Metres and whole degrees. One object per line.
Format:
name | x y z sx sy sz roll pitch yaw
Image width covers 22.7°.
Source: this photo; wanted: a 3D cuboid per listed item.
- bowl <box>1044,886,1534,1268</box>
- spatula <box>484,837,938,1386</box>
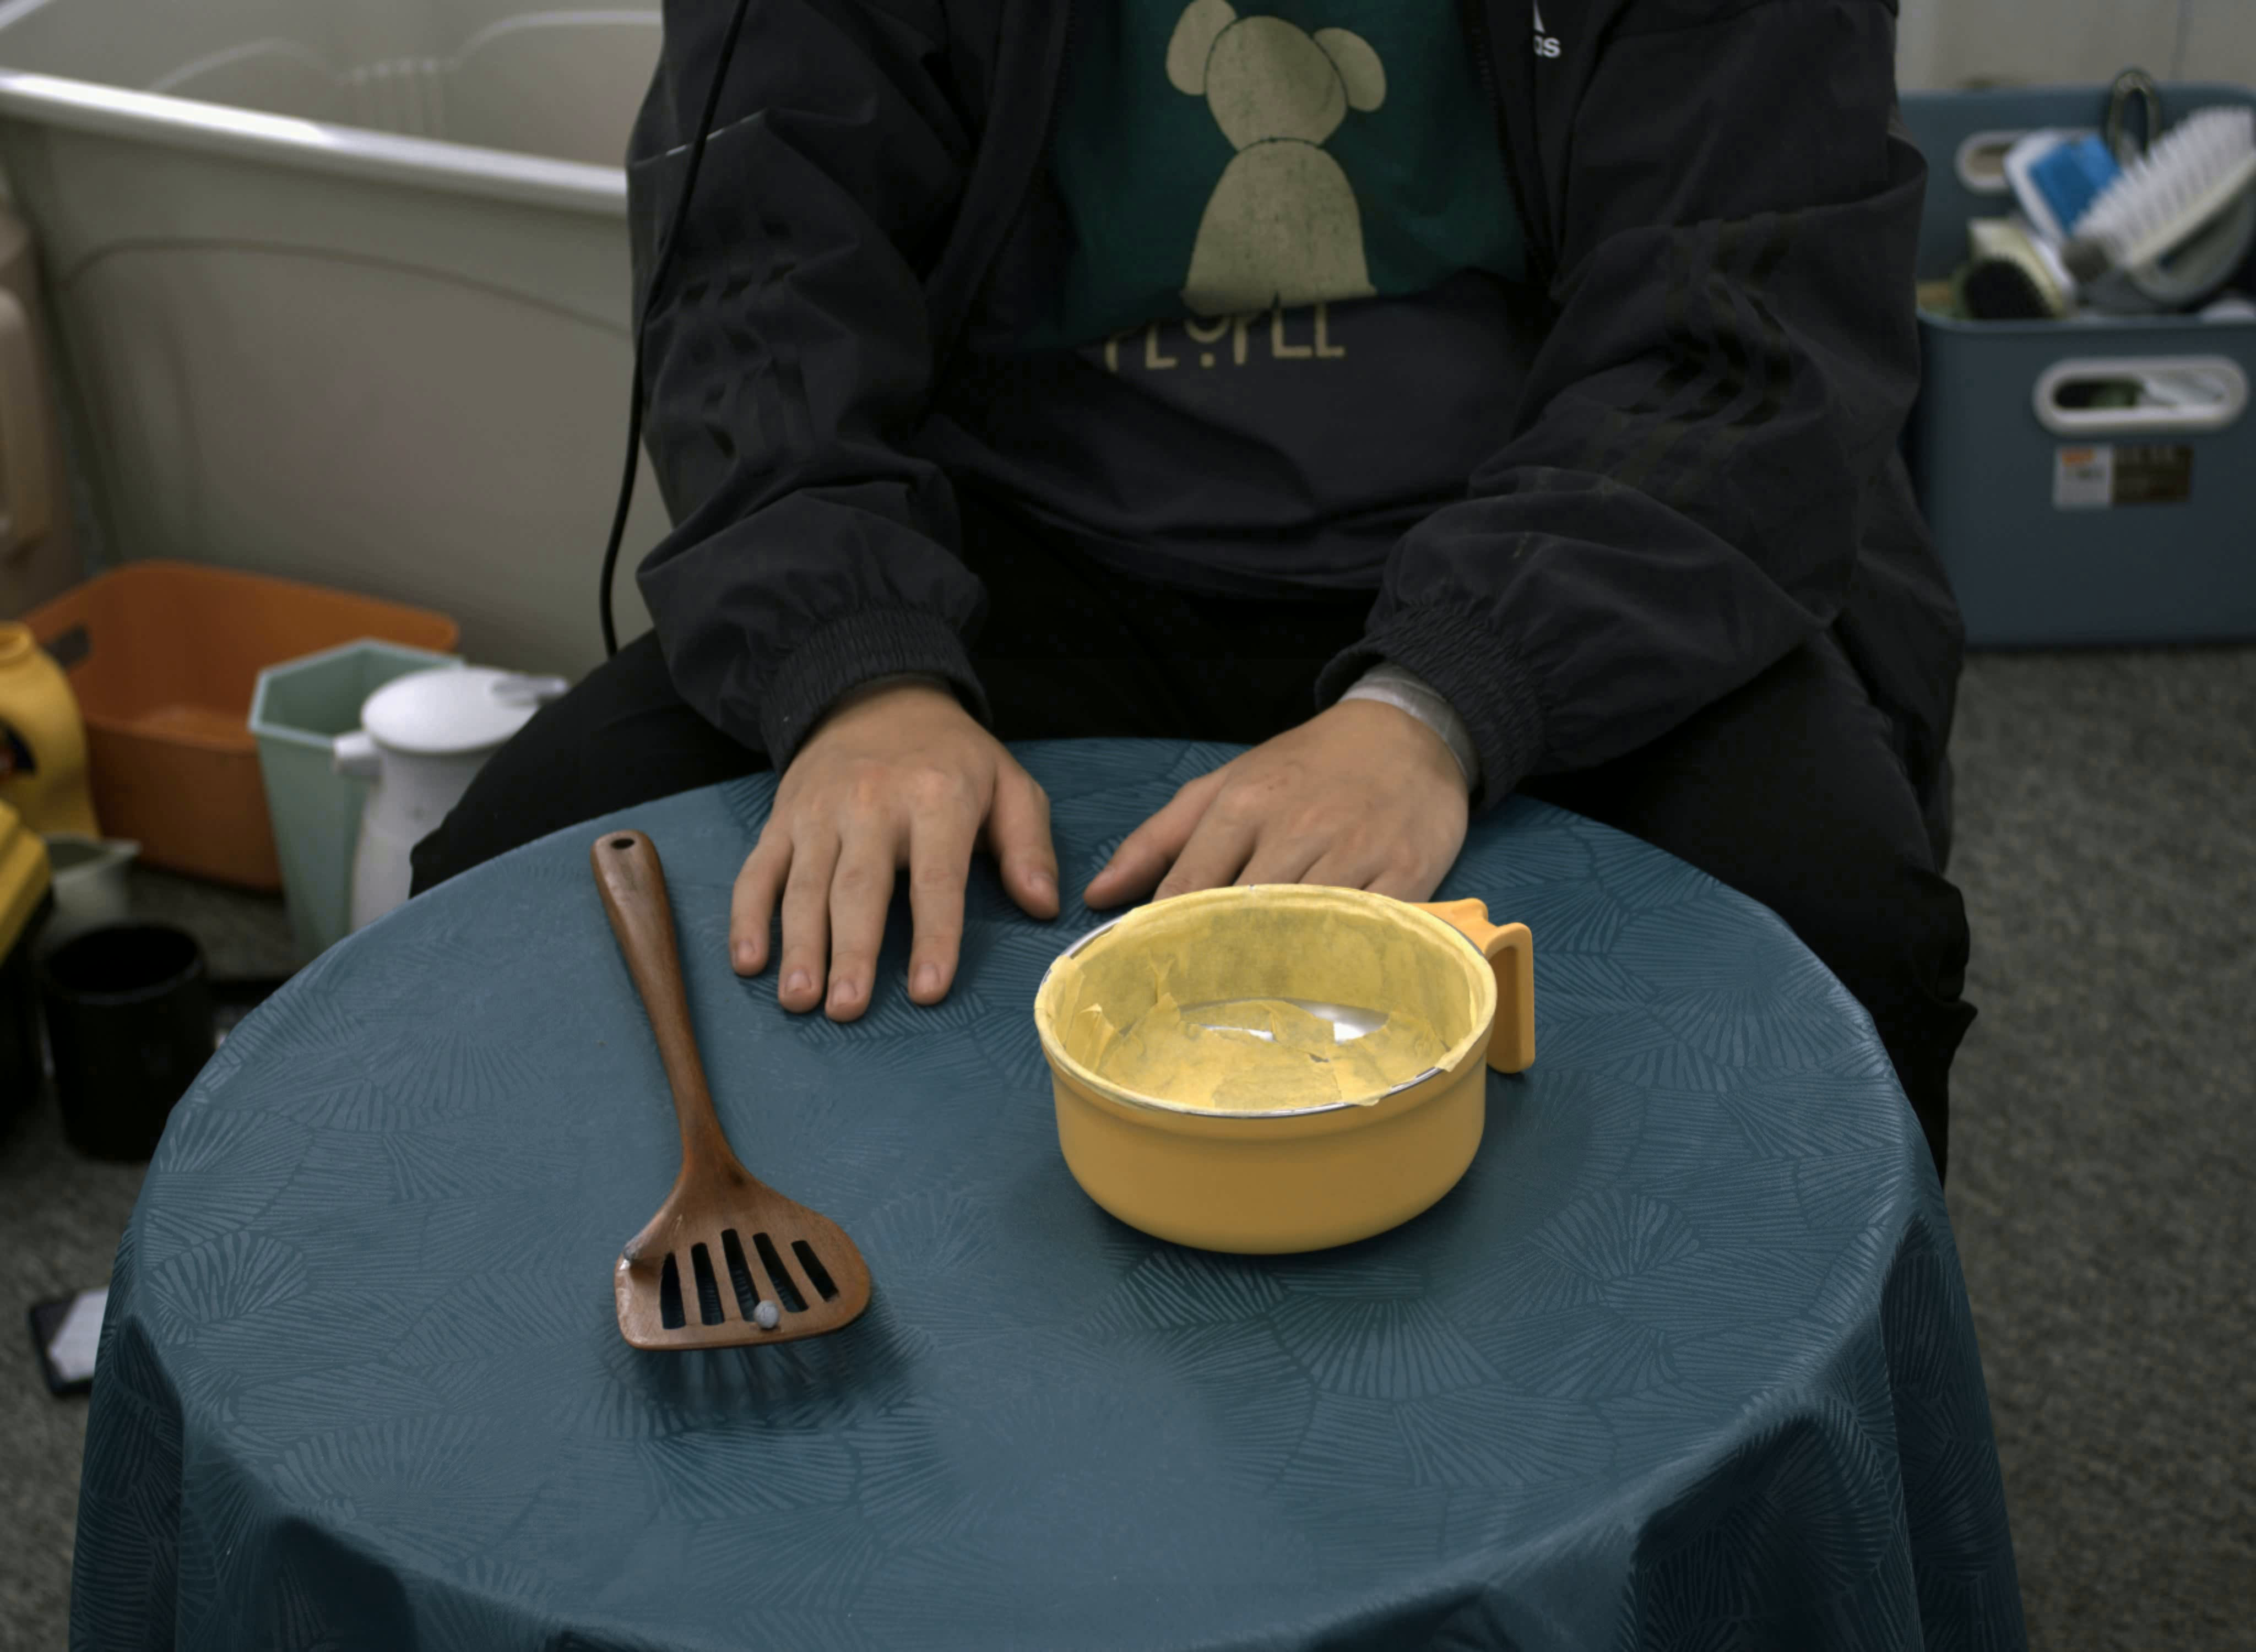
bowl | 0.060 0.082 1.861 0.181 0.073 0.153 -24 34 -35
spatula | -0.162 0.096 1.916 0.085 0.024 0.390 -4 28 -21
